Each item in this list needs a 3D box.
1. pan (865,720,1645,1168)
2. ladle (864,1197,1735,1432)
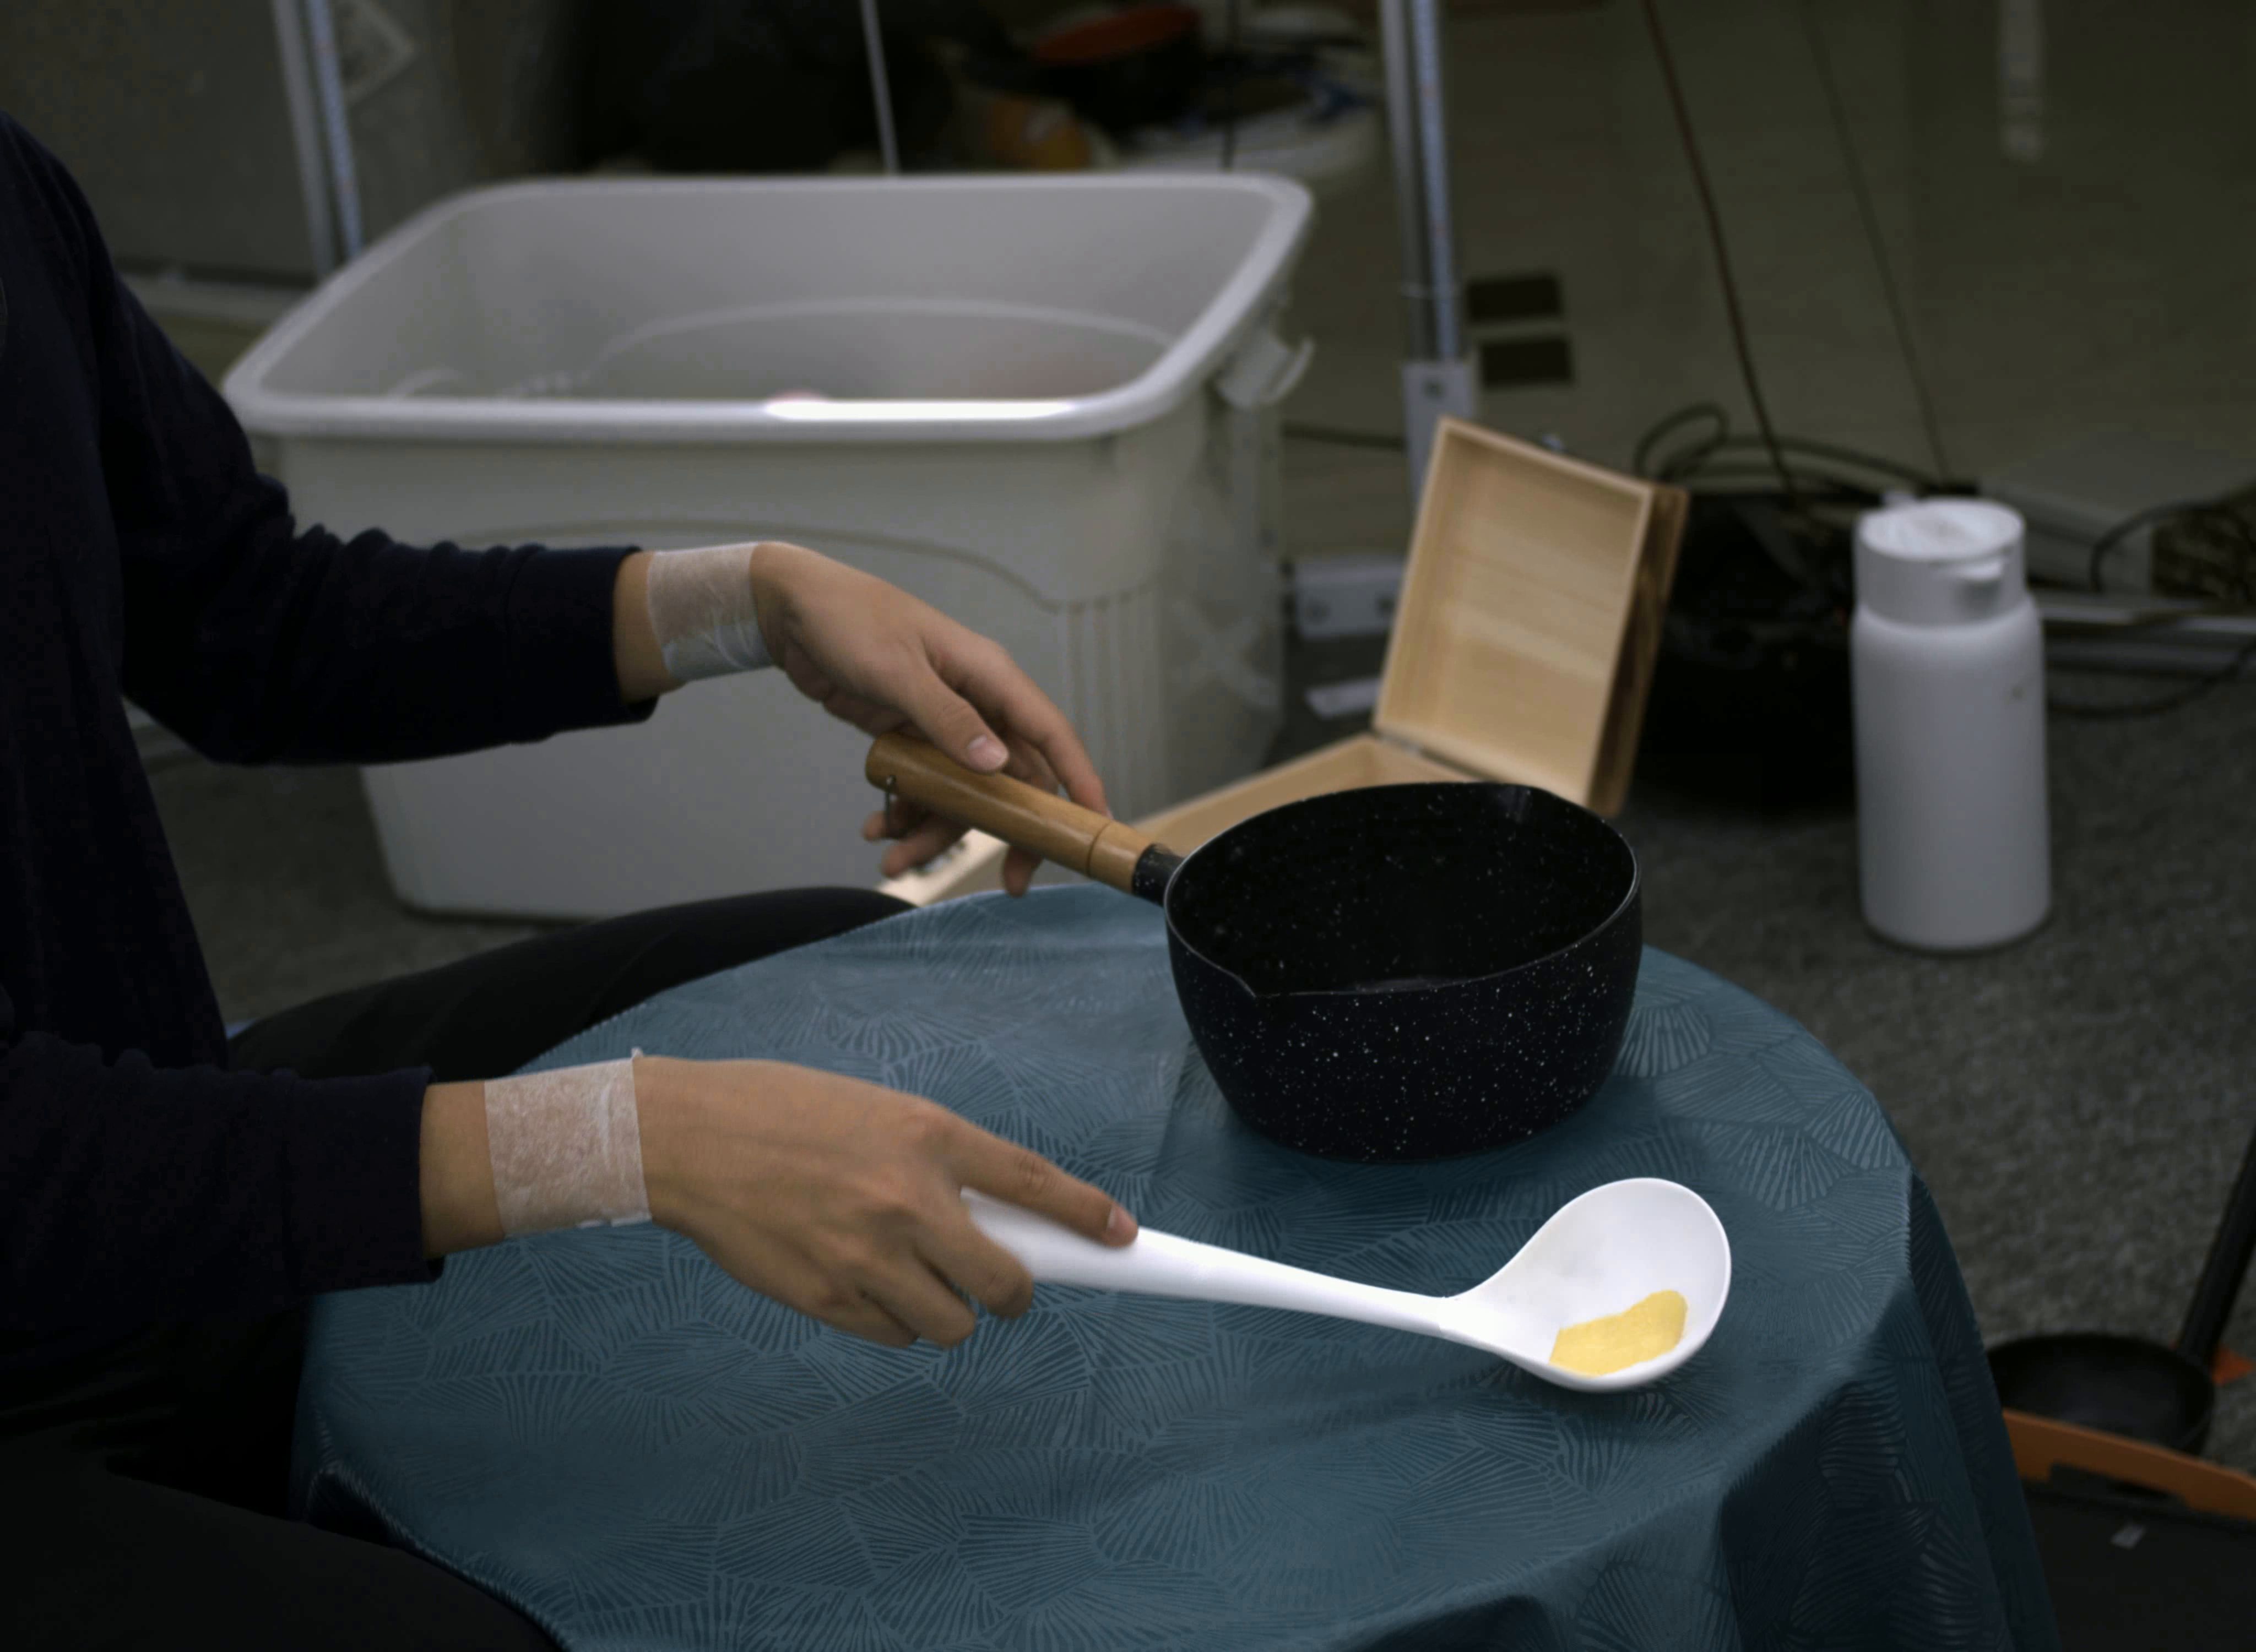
[{"bbox_3d":[0.041,0.037,2.226,0.341,0.110,0.205,11,32,31],"label":"pan"},{"bbox_3d":[0.059,0.156,1.950,0.293,0.071,0.089,9,59,-12],"label":"ladle"}]
